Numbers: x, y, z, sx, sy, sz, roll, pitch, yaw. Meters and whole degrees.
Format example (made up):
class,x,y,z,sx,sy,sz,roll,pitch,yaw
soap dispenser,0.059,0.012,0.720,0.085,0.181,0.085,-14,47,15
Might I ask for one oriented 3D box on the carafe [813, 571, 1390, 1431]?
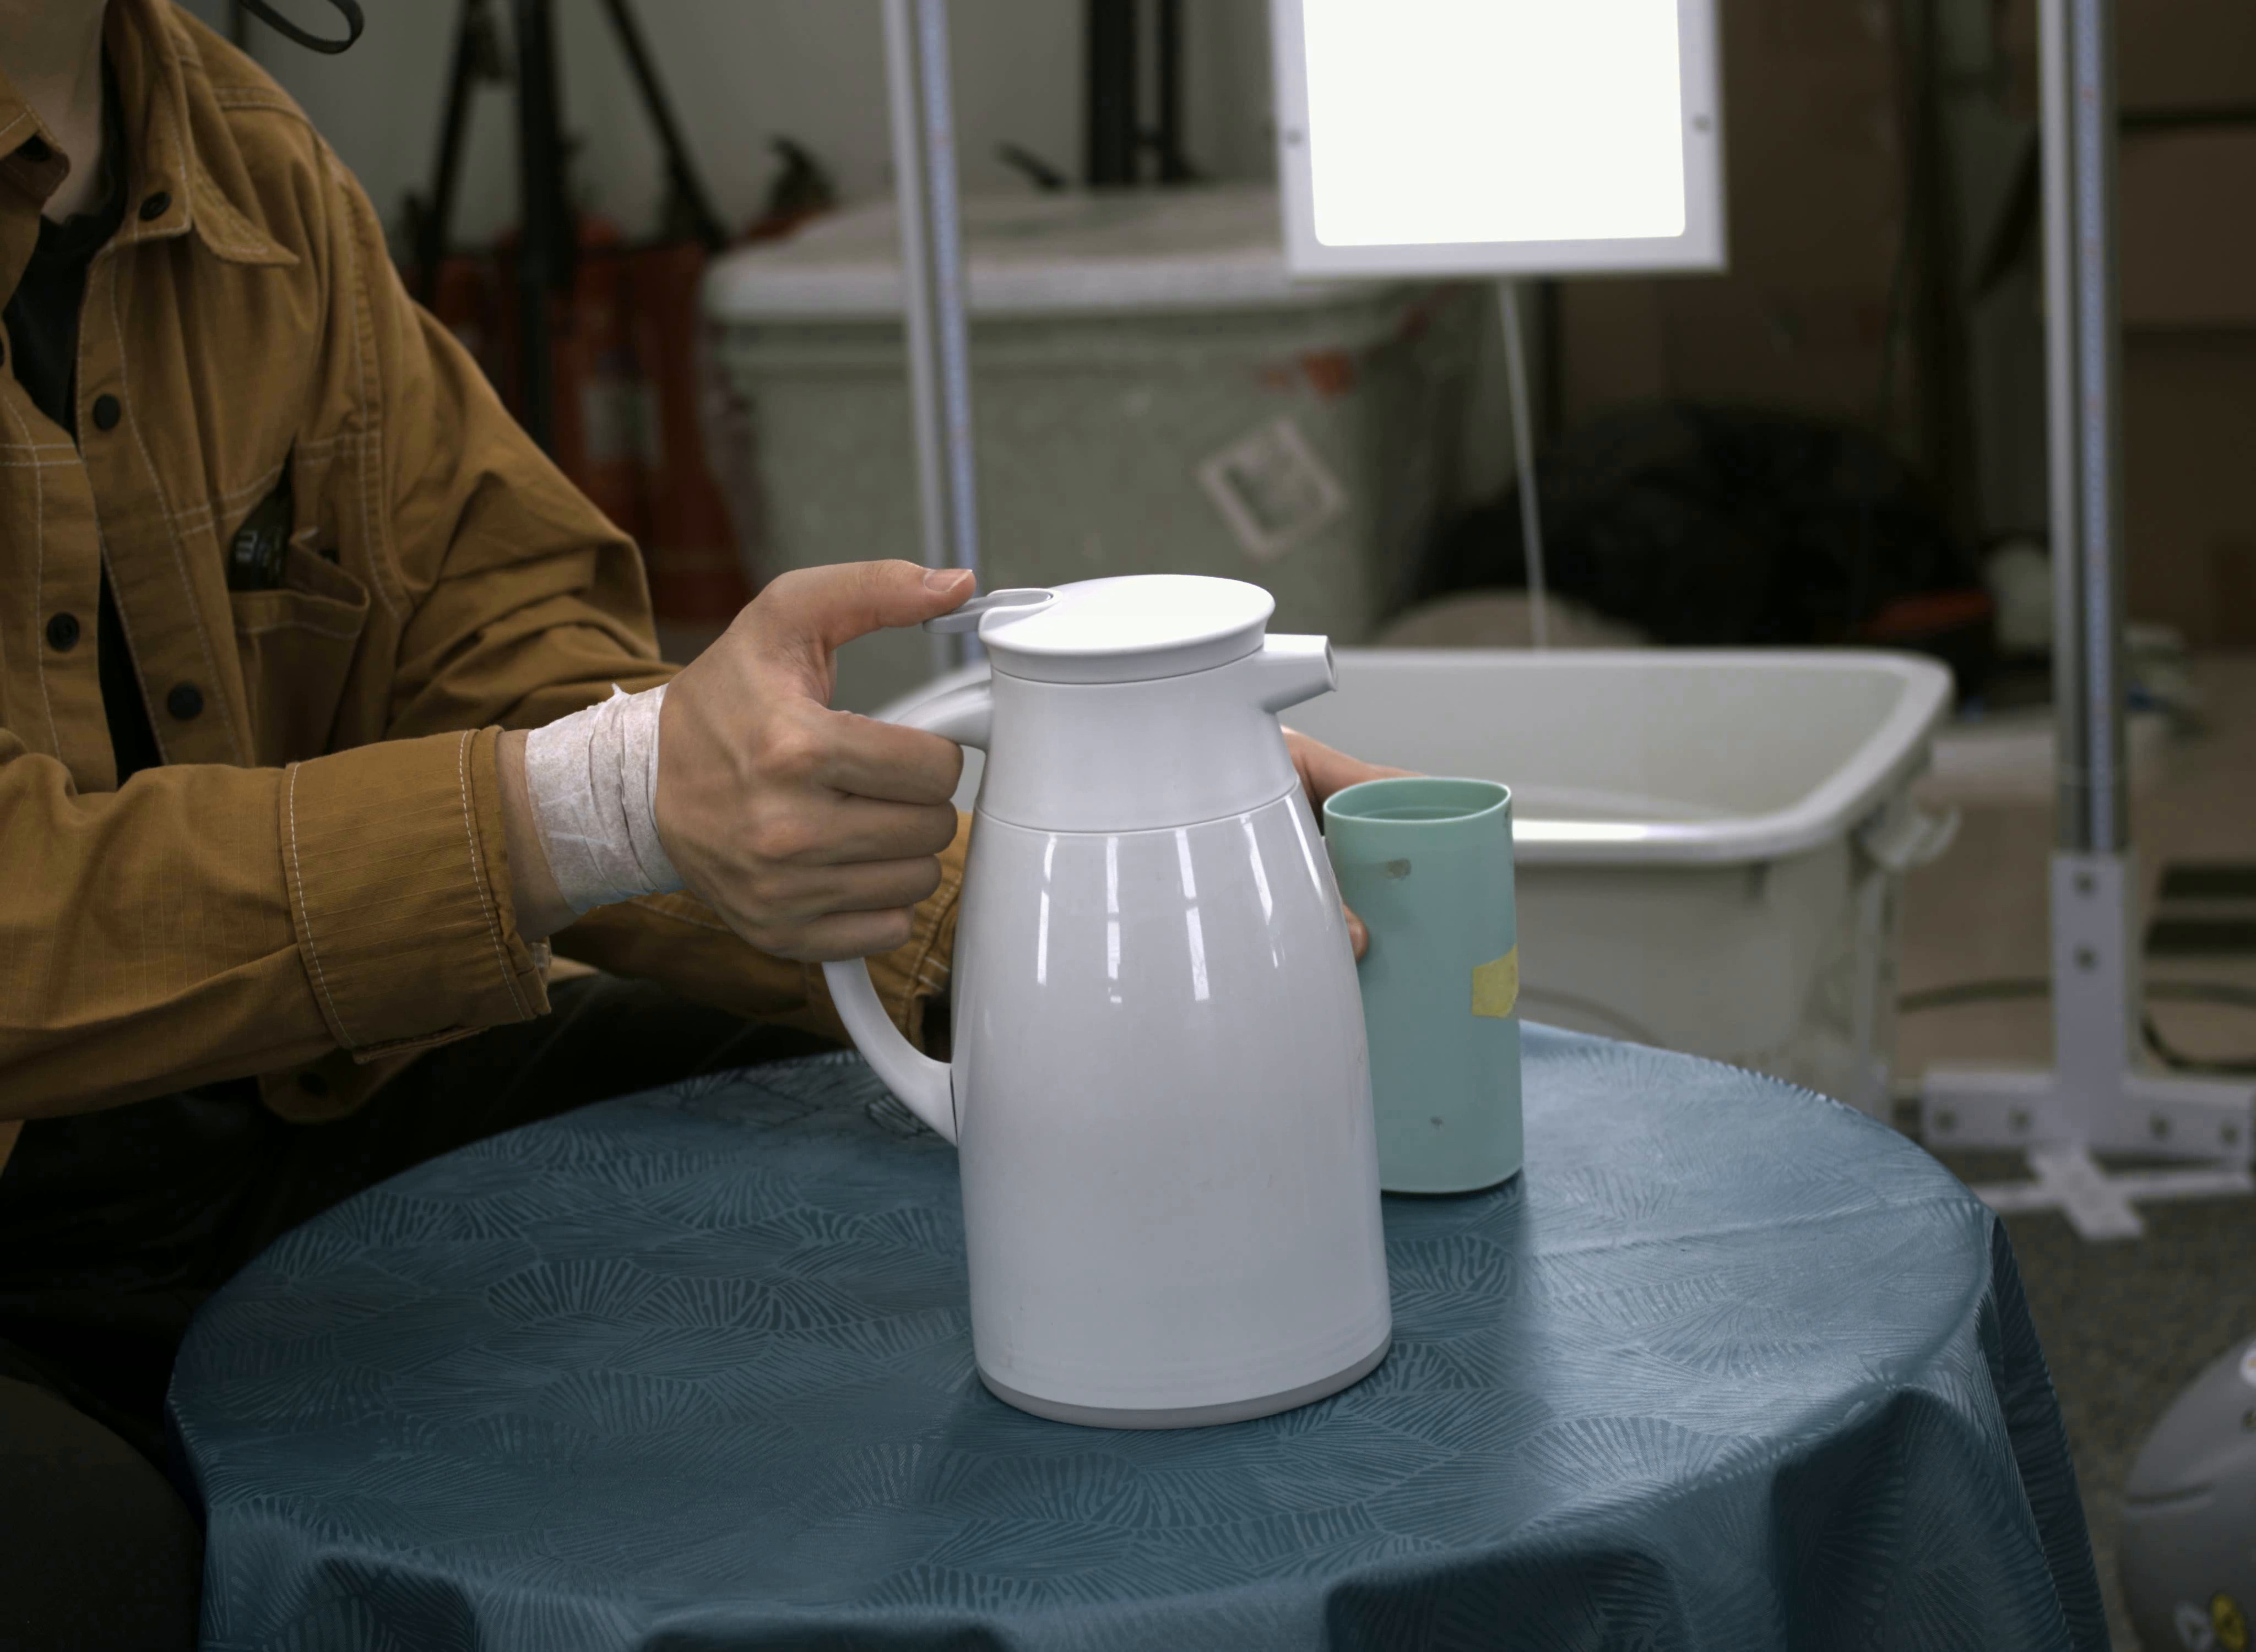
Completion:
class,x,y,z,sx,sy,sz,roll,pitch,yaw
carafe,-0.011,0.048,1.696,0.168,0.249,0.131,-4,15,7

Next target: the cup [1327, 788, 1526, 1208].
class,x,y,z,sx,sy,sz,roll,pitch,yaw
cup,0.101,0.057,1.871,0.066,0.133,0.066,-3,13,-1
